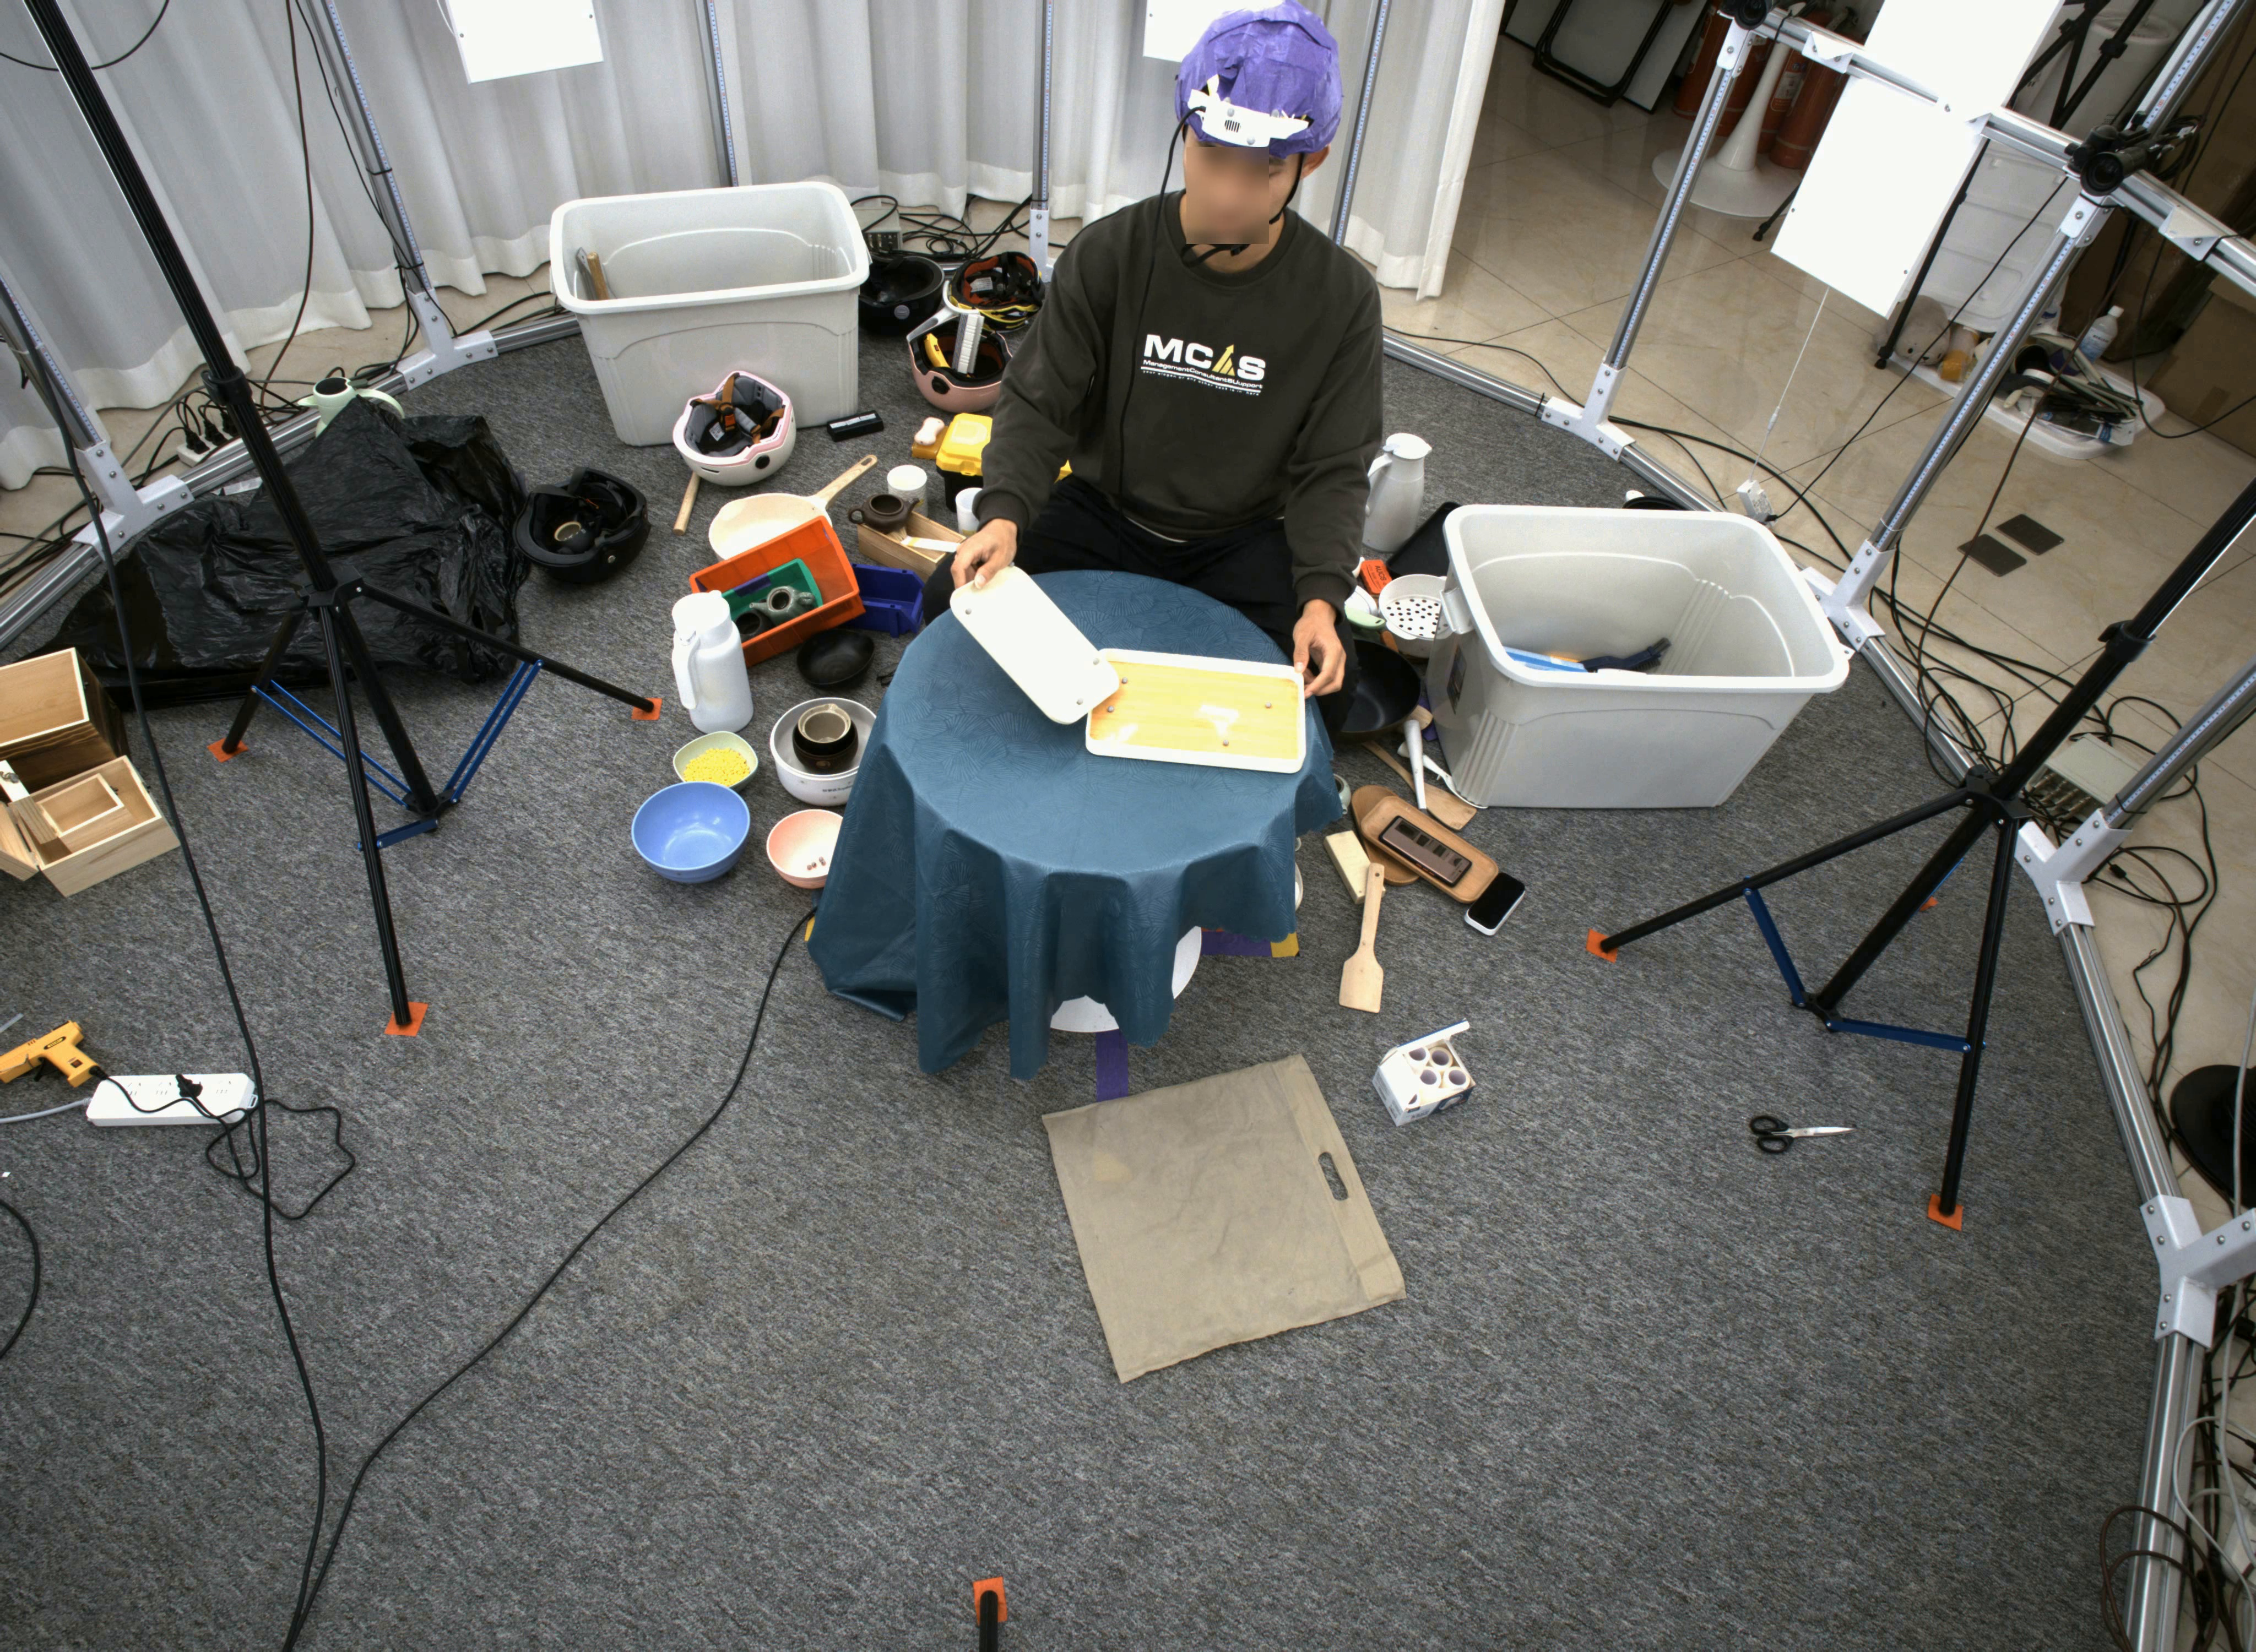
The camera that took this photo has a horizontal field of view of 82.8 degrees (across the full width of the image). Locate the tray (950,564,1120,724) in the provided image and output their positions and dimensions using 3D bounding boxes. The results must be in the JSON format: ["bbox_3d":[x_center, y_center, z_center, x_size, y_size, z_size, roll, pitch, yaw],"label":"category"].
[{"bbox_3d":[-0.126,-0.251,1.764,0.240,0.017,0.173,47,41,2],"label":"tray"}]

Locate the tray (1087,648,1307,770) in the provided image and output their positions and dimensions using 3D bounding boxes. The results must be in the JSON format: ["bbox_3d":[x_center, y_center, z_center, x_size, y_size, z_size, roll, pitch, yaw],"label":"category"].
[{"bbox_3d":[0.098,-0.166,1.799,0.300,0.027,0.196,5,49,0],"label":"tray"}]
